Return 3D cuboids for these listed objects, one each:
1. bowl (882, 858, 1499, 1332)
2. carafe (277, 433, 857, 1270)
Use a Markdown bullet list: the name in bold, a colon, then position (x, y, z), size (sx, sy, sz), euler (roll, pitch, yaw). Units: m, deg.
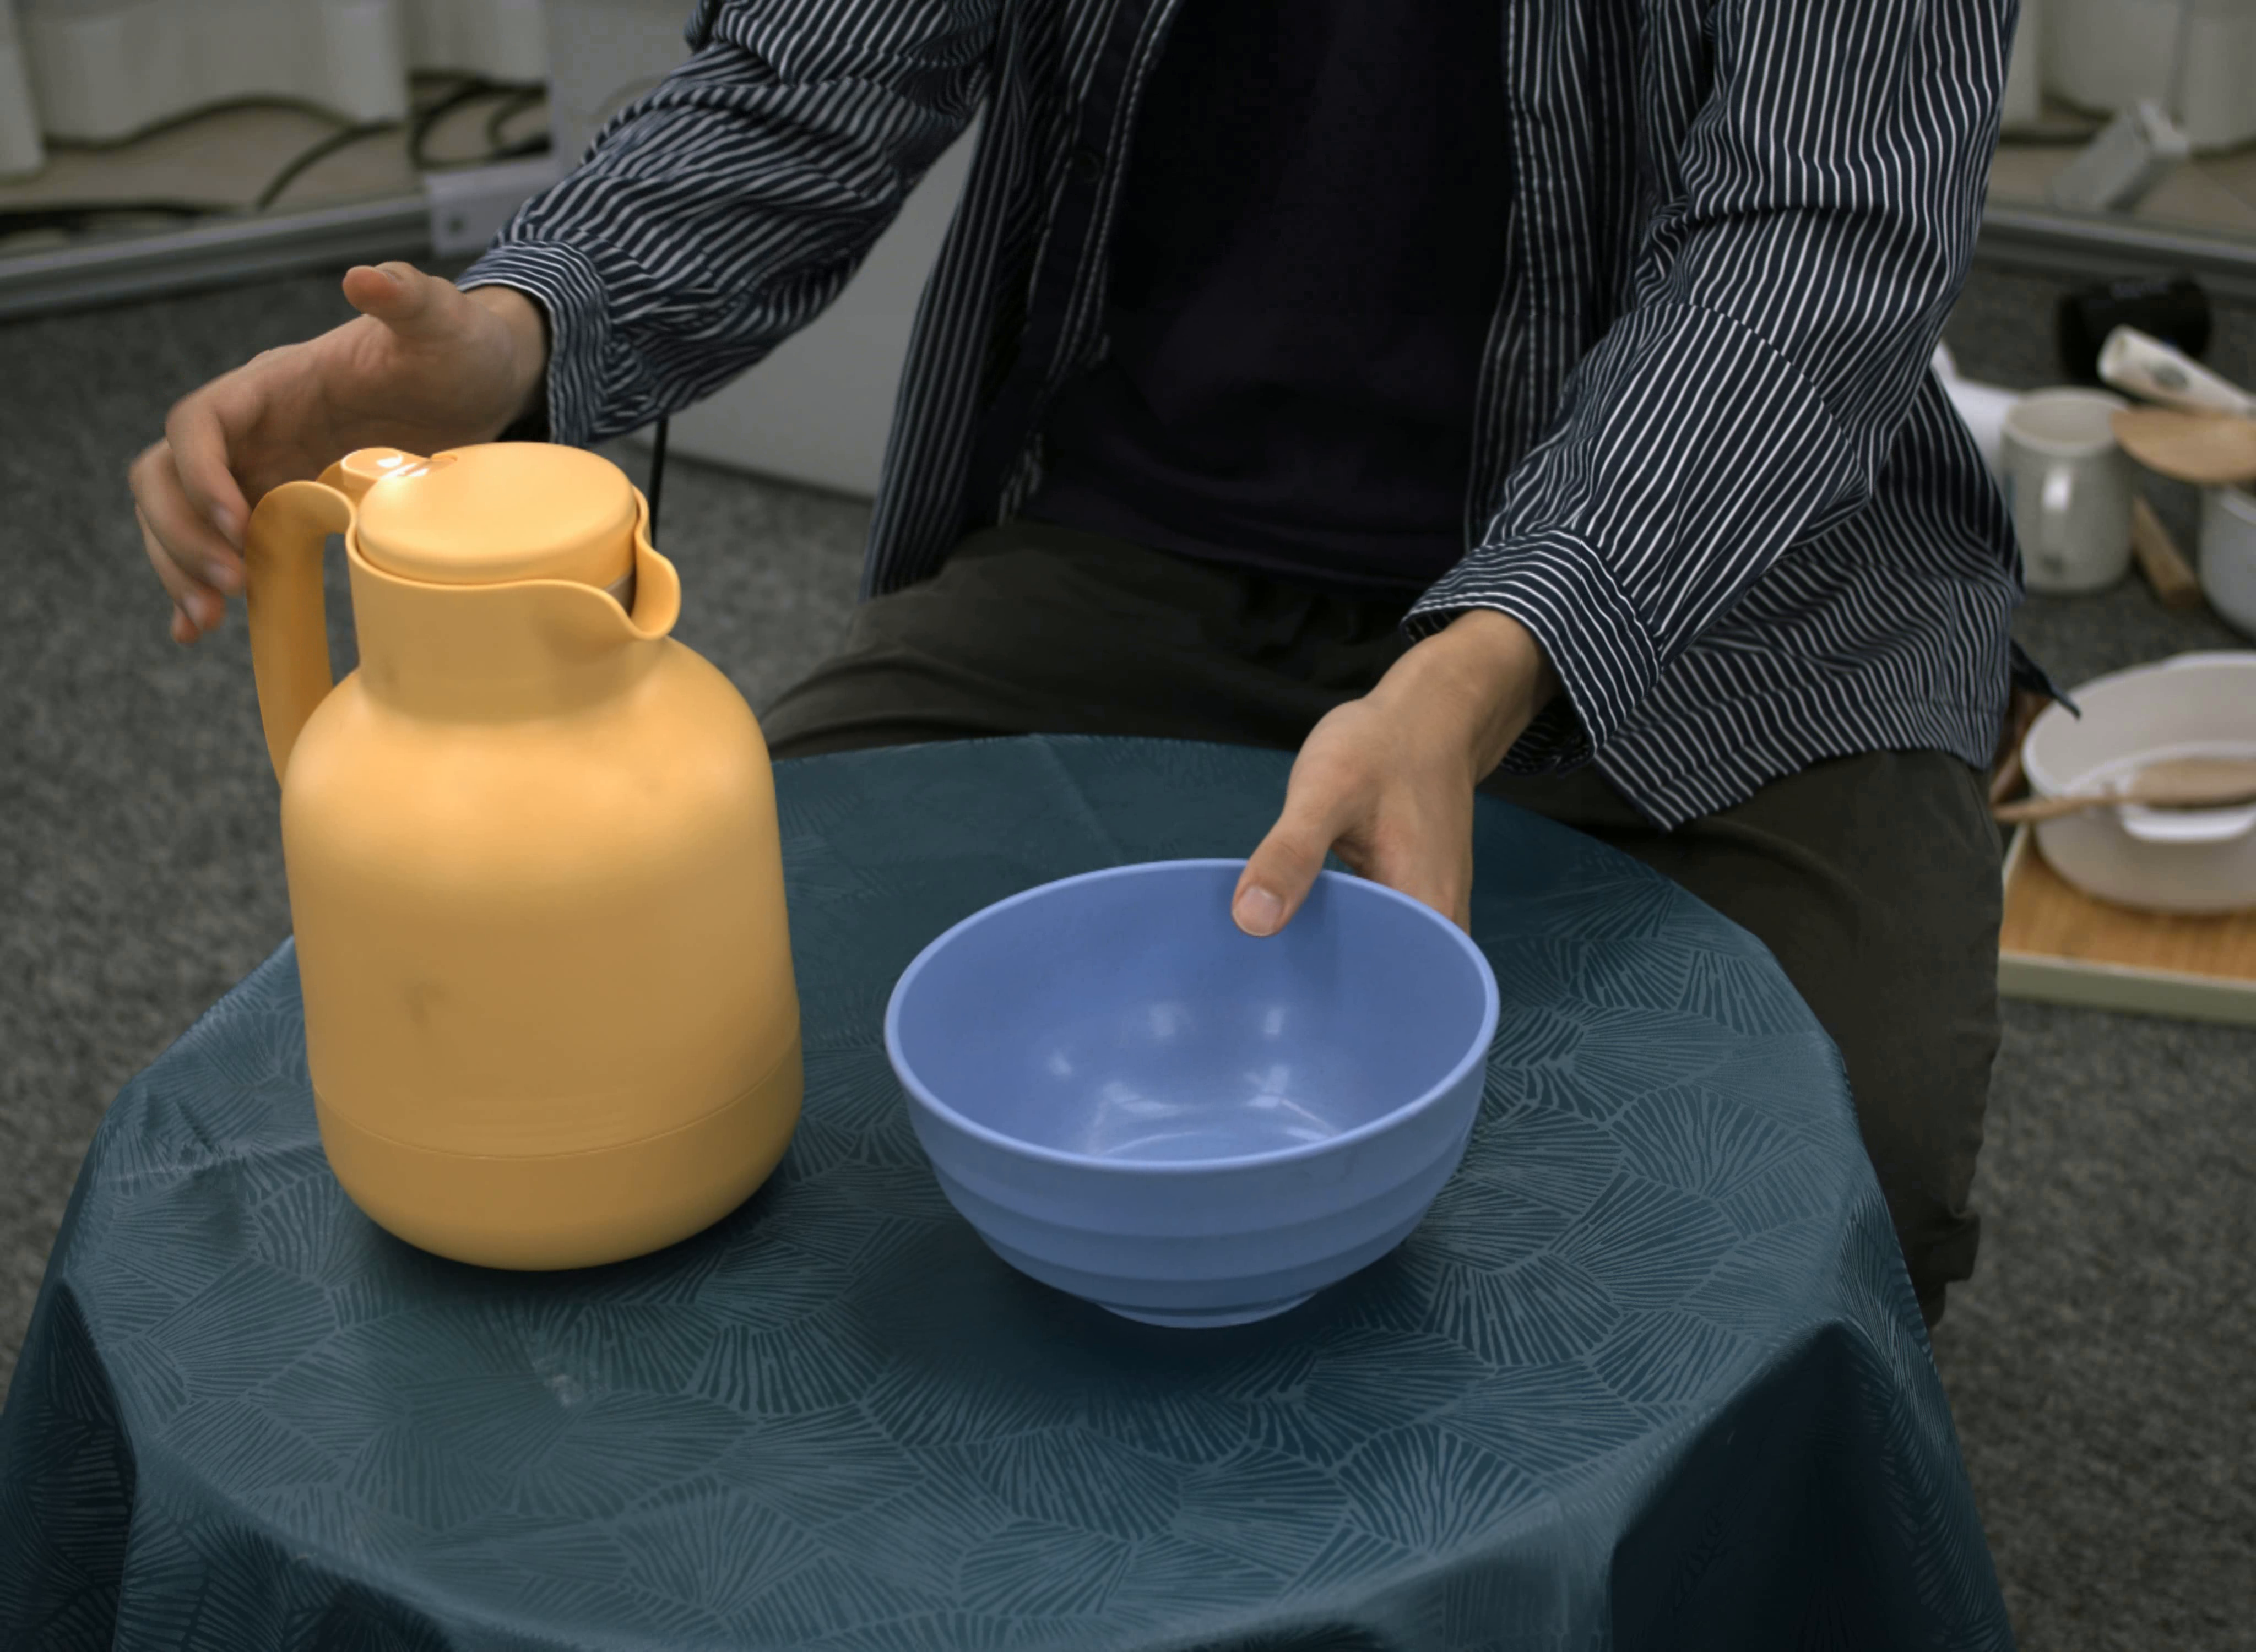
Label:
- **bowl**: position (0.022, 0.098, 1.799), size (0.195, 0.094, 0.199), euler (-2, 27, 2)
- **carafe**: position (-0.191, -0.002, 1.835), size (0.202, 0.258, 0.165), euler (19, 34, 38)
